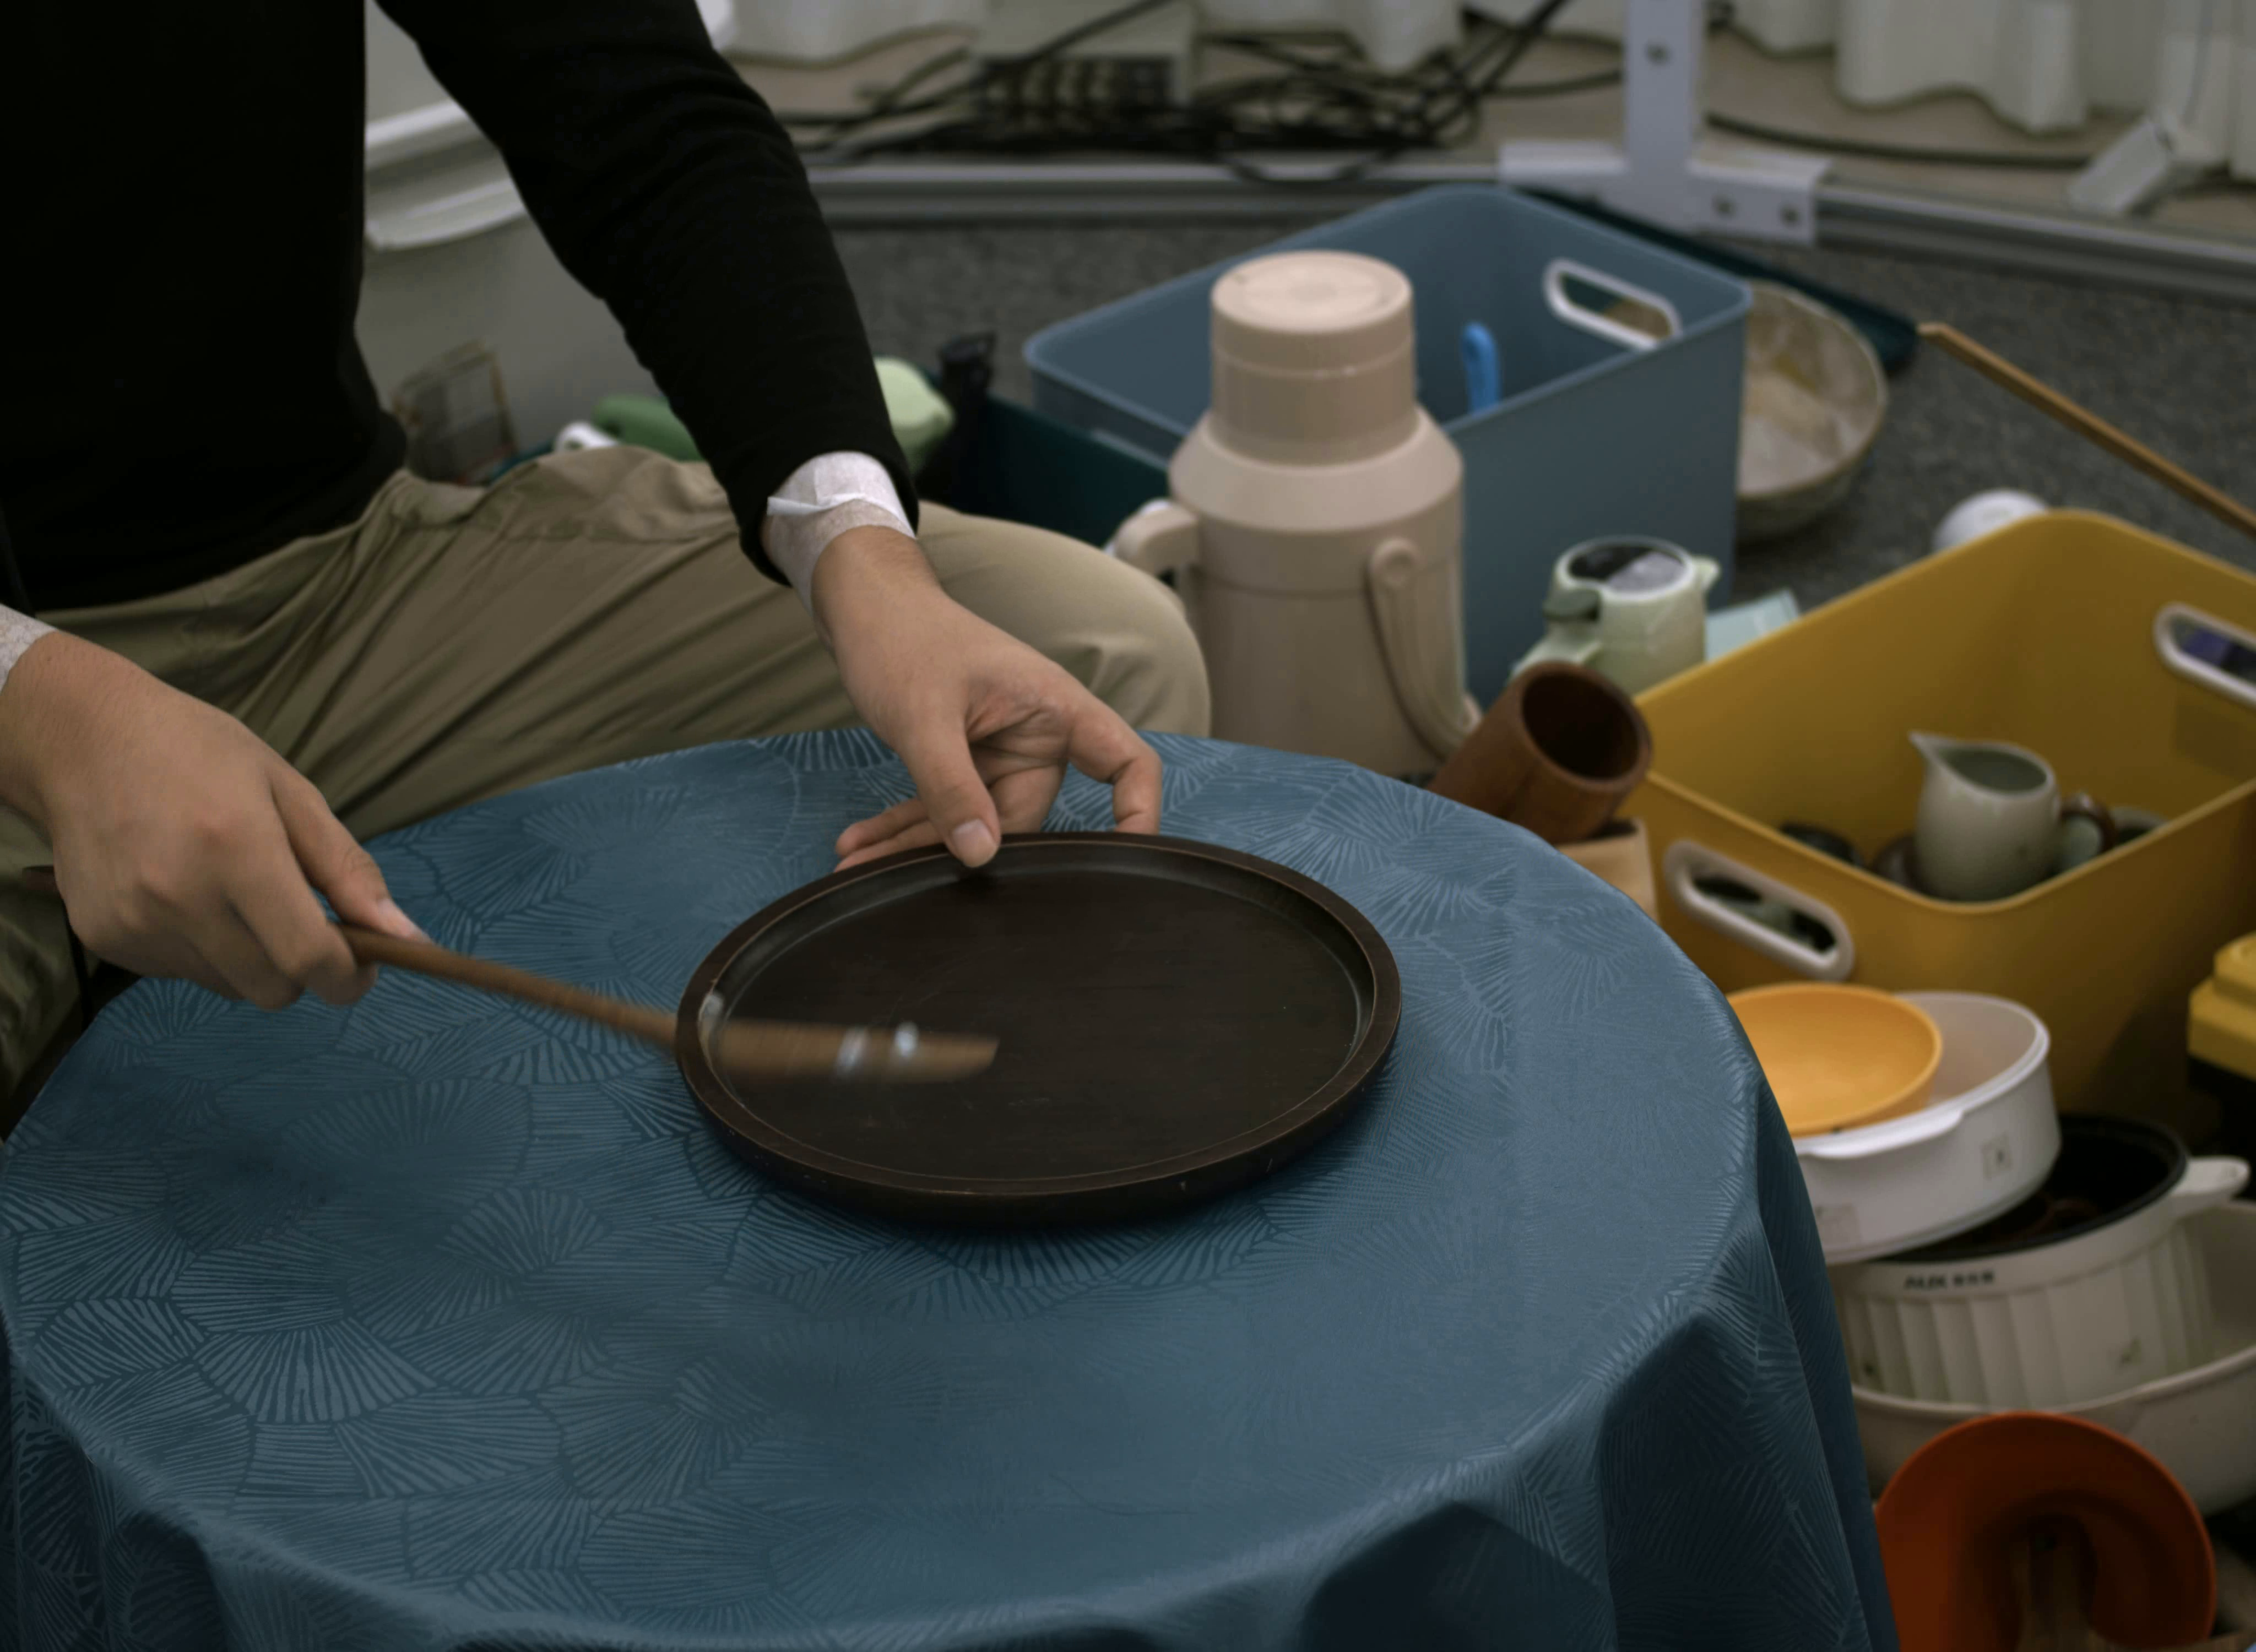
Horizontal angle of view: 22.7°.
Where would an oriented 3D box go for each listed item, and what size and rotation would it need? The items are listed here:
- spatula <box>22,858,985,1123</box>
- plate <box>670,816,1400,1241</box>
[{"bbox_3d":[-0.216,0.051,1.811,0.384,0.016,0.097,14,12,33],"label":"spatula"},{"bbox_3d":[-0.032,0.070,1.940,0.253,0.029,0.259,-2,29,2],"label":"plate"}]
